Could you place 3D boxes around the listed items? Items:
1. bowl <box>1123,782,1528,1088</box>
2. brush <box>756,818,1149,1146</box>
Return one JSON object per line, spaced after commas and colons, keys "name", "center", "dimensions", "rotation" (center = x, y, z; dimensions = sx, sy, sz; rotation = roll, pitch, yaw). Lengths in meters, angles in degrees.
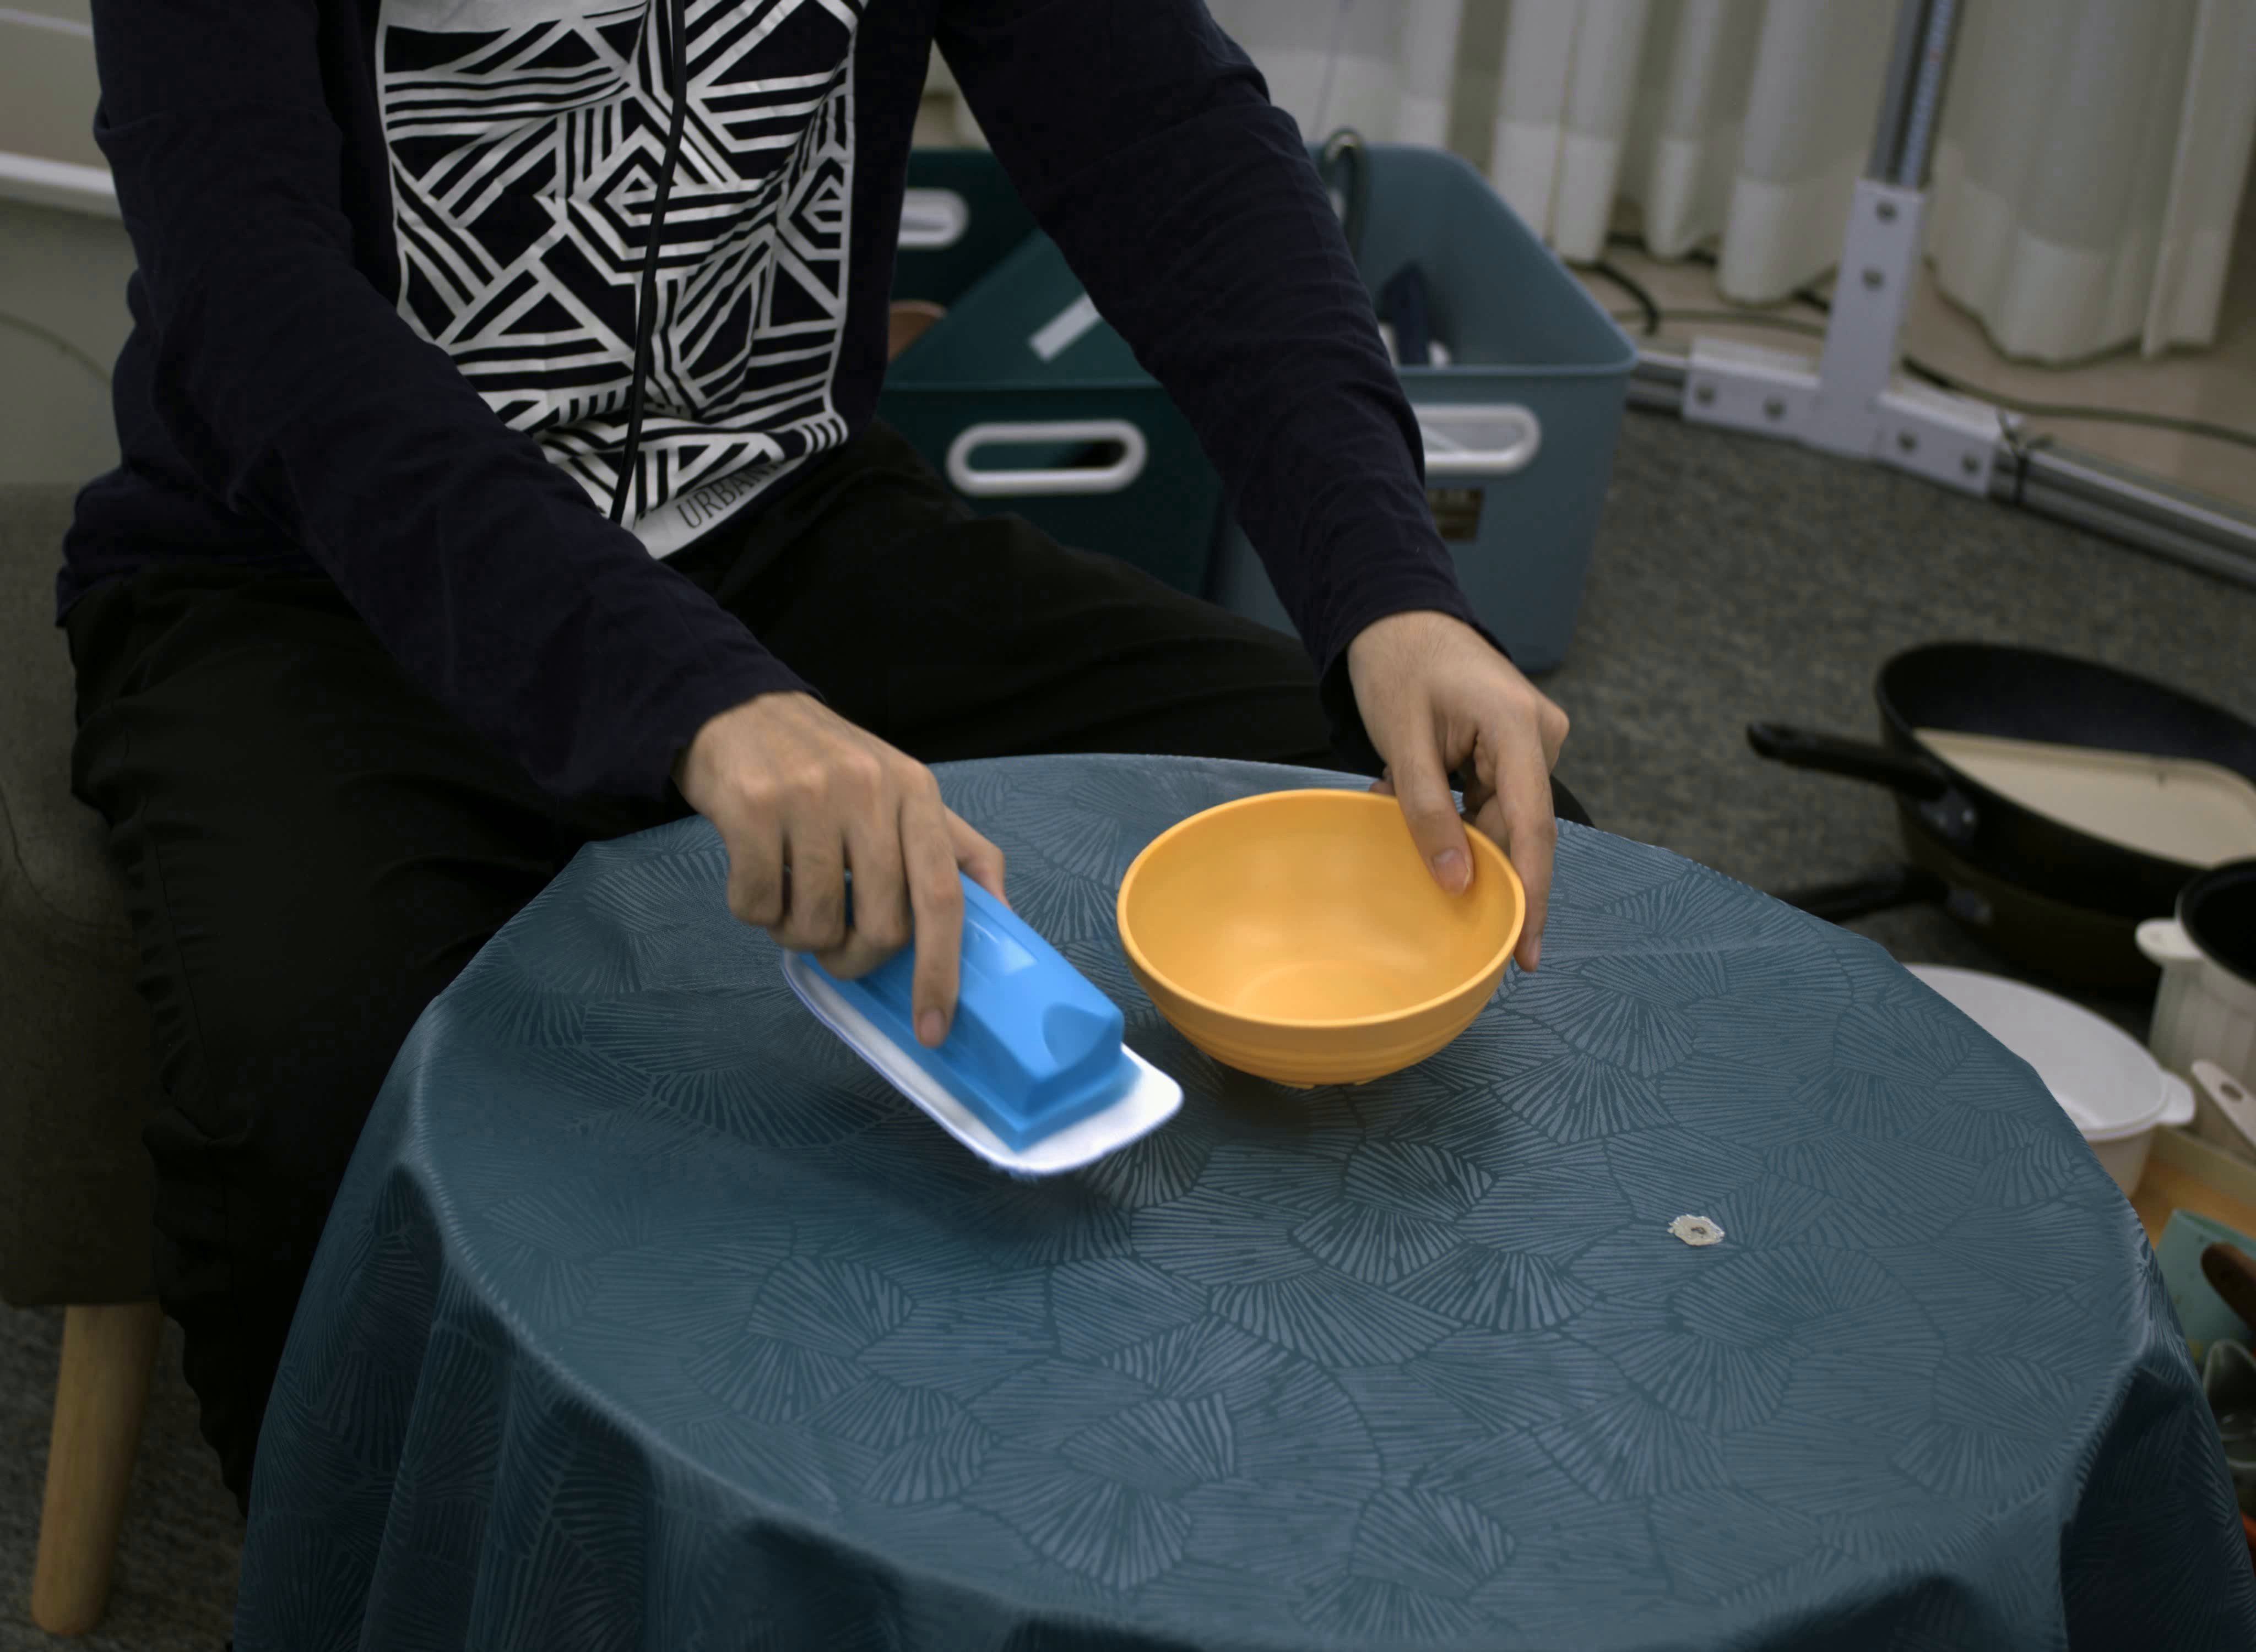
{"name": "bowl", "center": [0.069, 0.050, 1.890], "dimensions": [0.145, 0.060, 0.146], "rotation": [-1, 36, 0]}
{"name": "brush", "center": [-0.056, 0.047, 1.797], "dimensions": [0.083, 0.056, 0.145], "rotation": [-19, 48, -36]}
